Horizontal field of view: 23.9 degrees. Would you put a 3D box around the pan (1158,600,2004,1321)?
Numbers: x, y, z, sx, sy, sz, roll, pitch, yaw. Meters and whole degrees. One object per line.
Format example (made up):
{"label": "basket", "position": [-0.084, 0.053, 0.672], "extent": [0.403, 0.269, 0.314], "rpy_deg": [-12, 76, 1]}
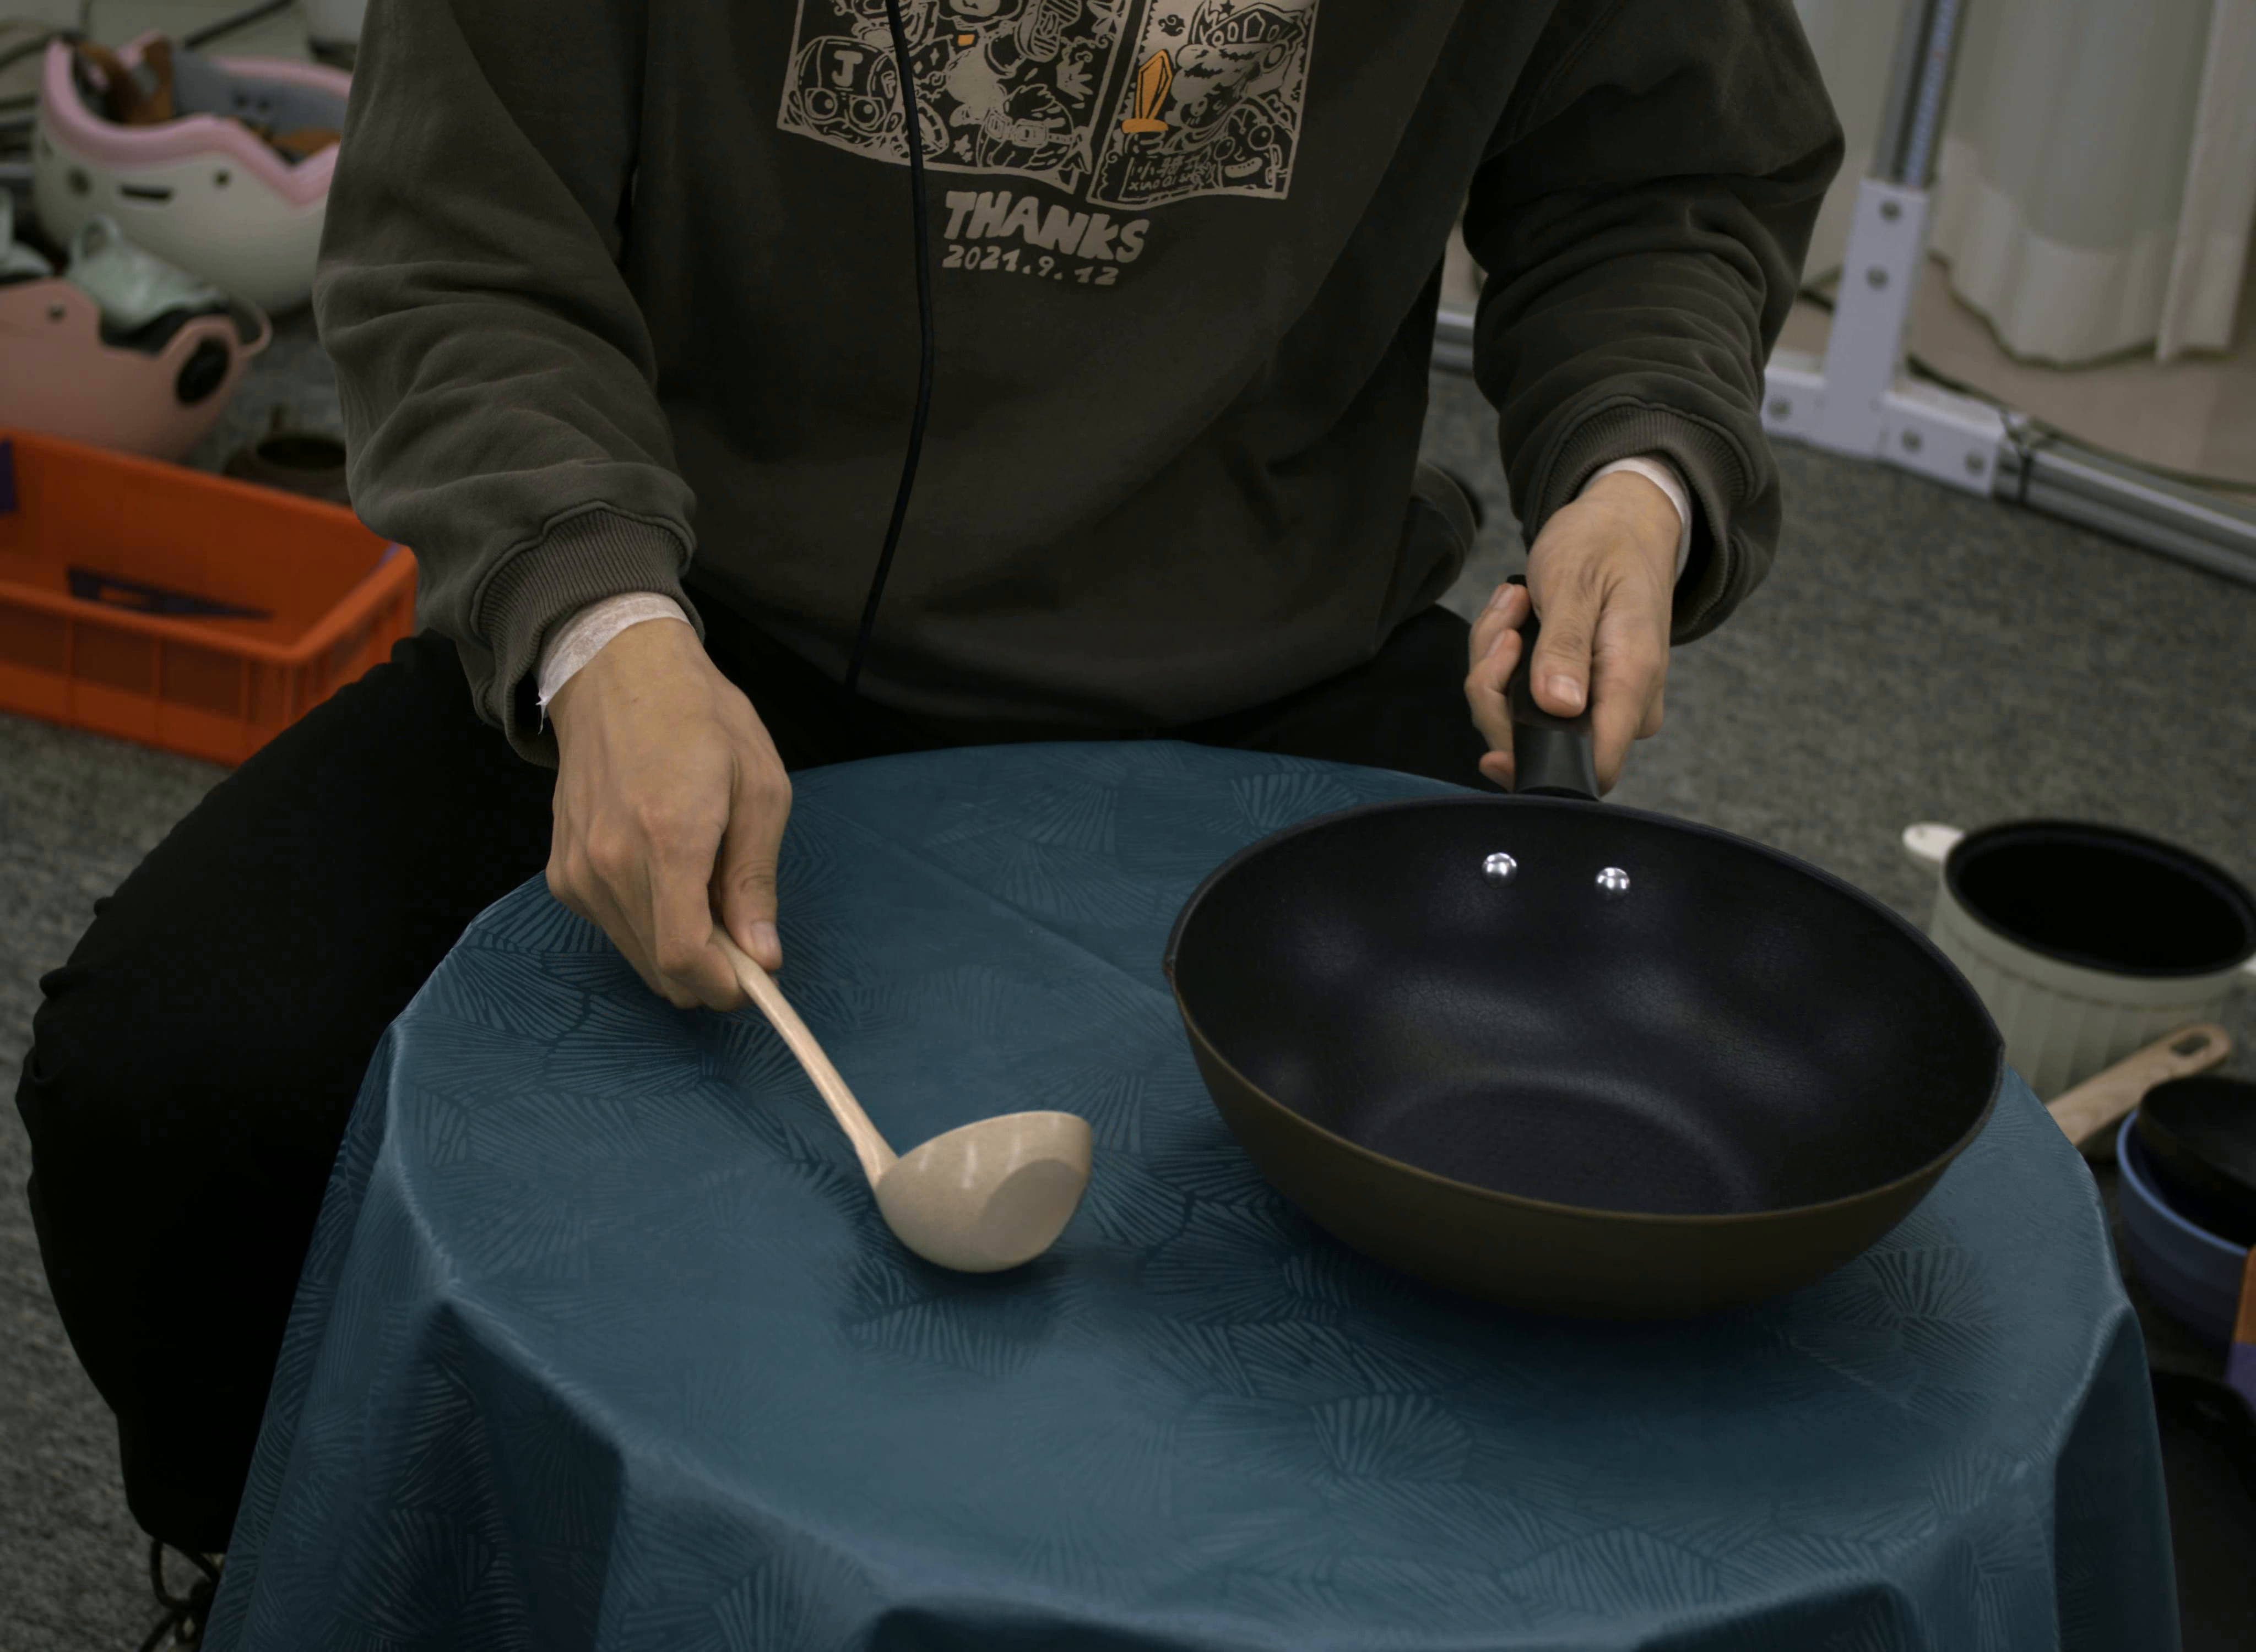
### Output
{"label": "pan", "position": [0.151, 0.048, 1.888], "extent": [0.287, 0.086, 0.466], "rpy_deg": [6, 27, -2]}

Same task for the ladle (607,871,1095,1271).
{"label": "ladle", "position": [-0.099, 0.057, 1.801], "extent": [0.071, 0.073, 0.257], "rpy_deg": [4, 31, -42]}
